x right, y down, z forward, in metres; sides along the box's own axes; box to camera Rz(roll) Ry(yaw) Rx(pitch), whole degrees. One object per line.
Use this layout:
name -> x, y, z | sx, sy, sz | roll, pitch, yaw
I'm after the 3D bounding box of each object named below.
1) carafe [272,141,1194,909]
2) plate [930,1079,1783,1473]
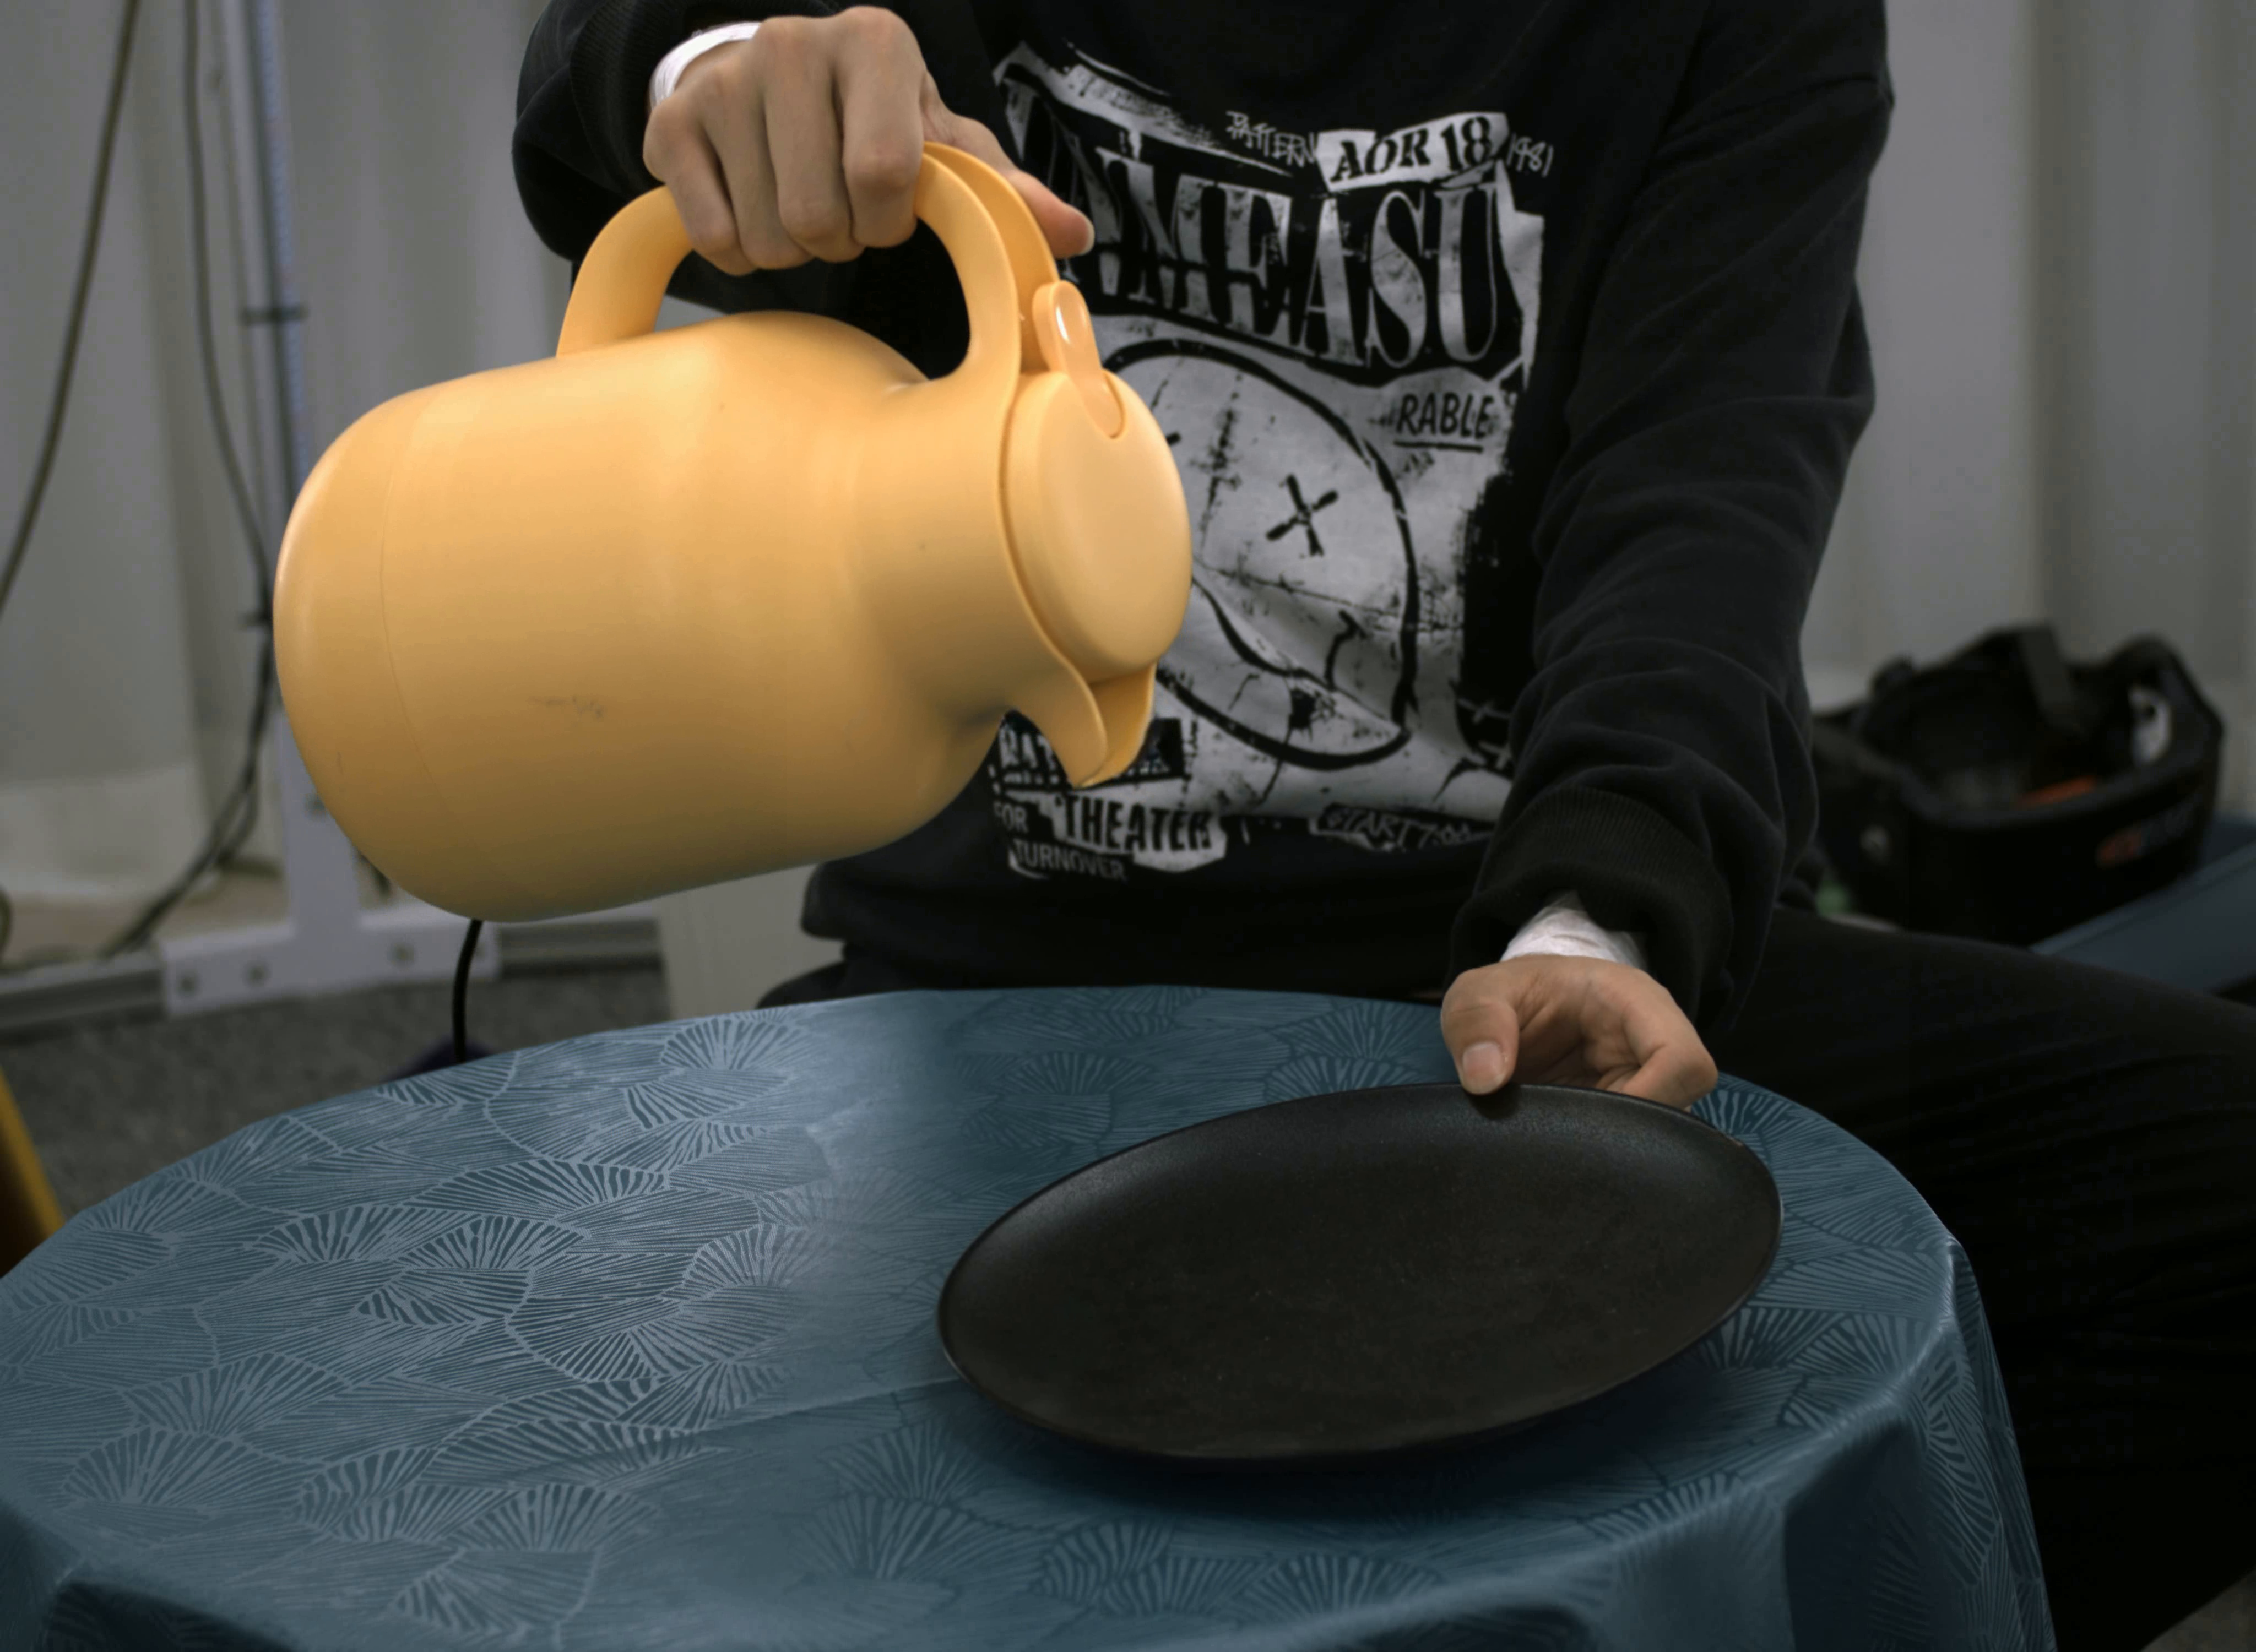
carafe -> -0.111, -0.088, 1.588 | 0.260, 0.203, 0.163 | -9, -2, 28
plate -> 0.065, 0.131, 1.549 | 0.243, 0.023, 0.246 | -8, 20, 2
